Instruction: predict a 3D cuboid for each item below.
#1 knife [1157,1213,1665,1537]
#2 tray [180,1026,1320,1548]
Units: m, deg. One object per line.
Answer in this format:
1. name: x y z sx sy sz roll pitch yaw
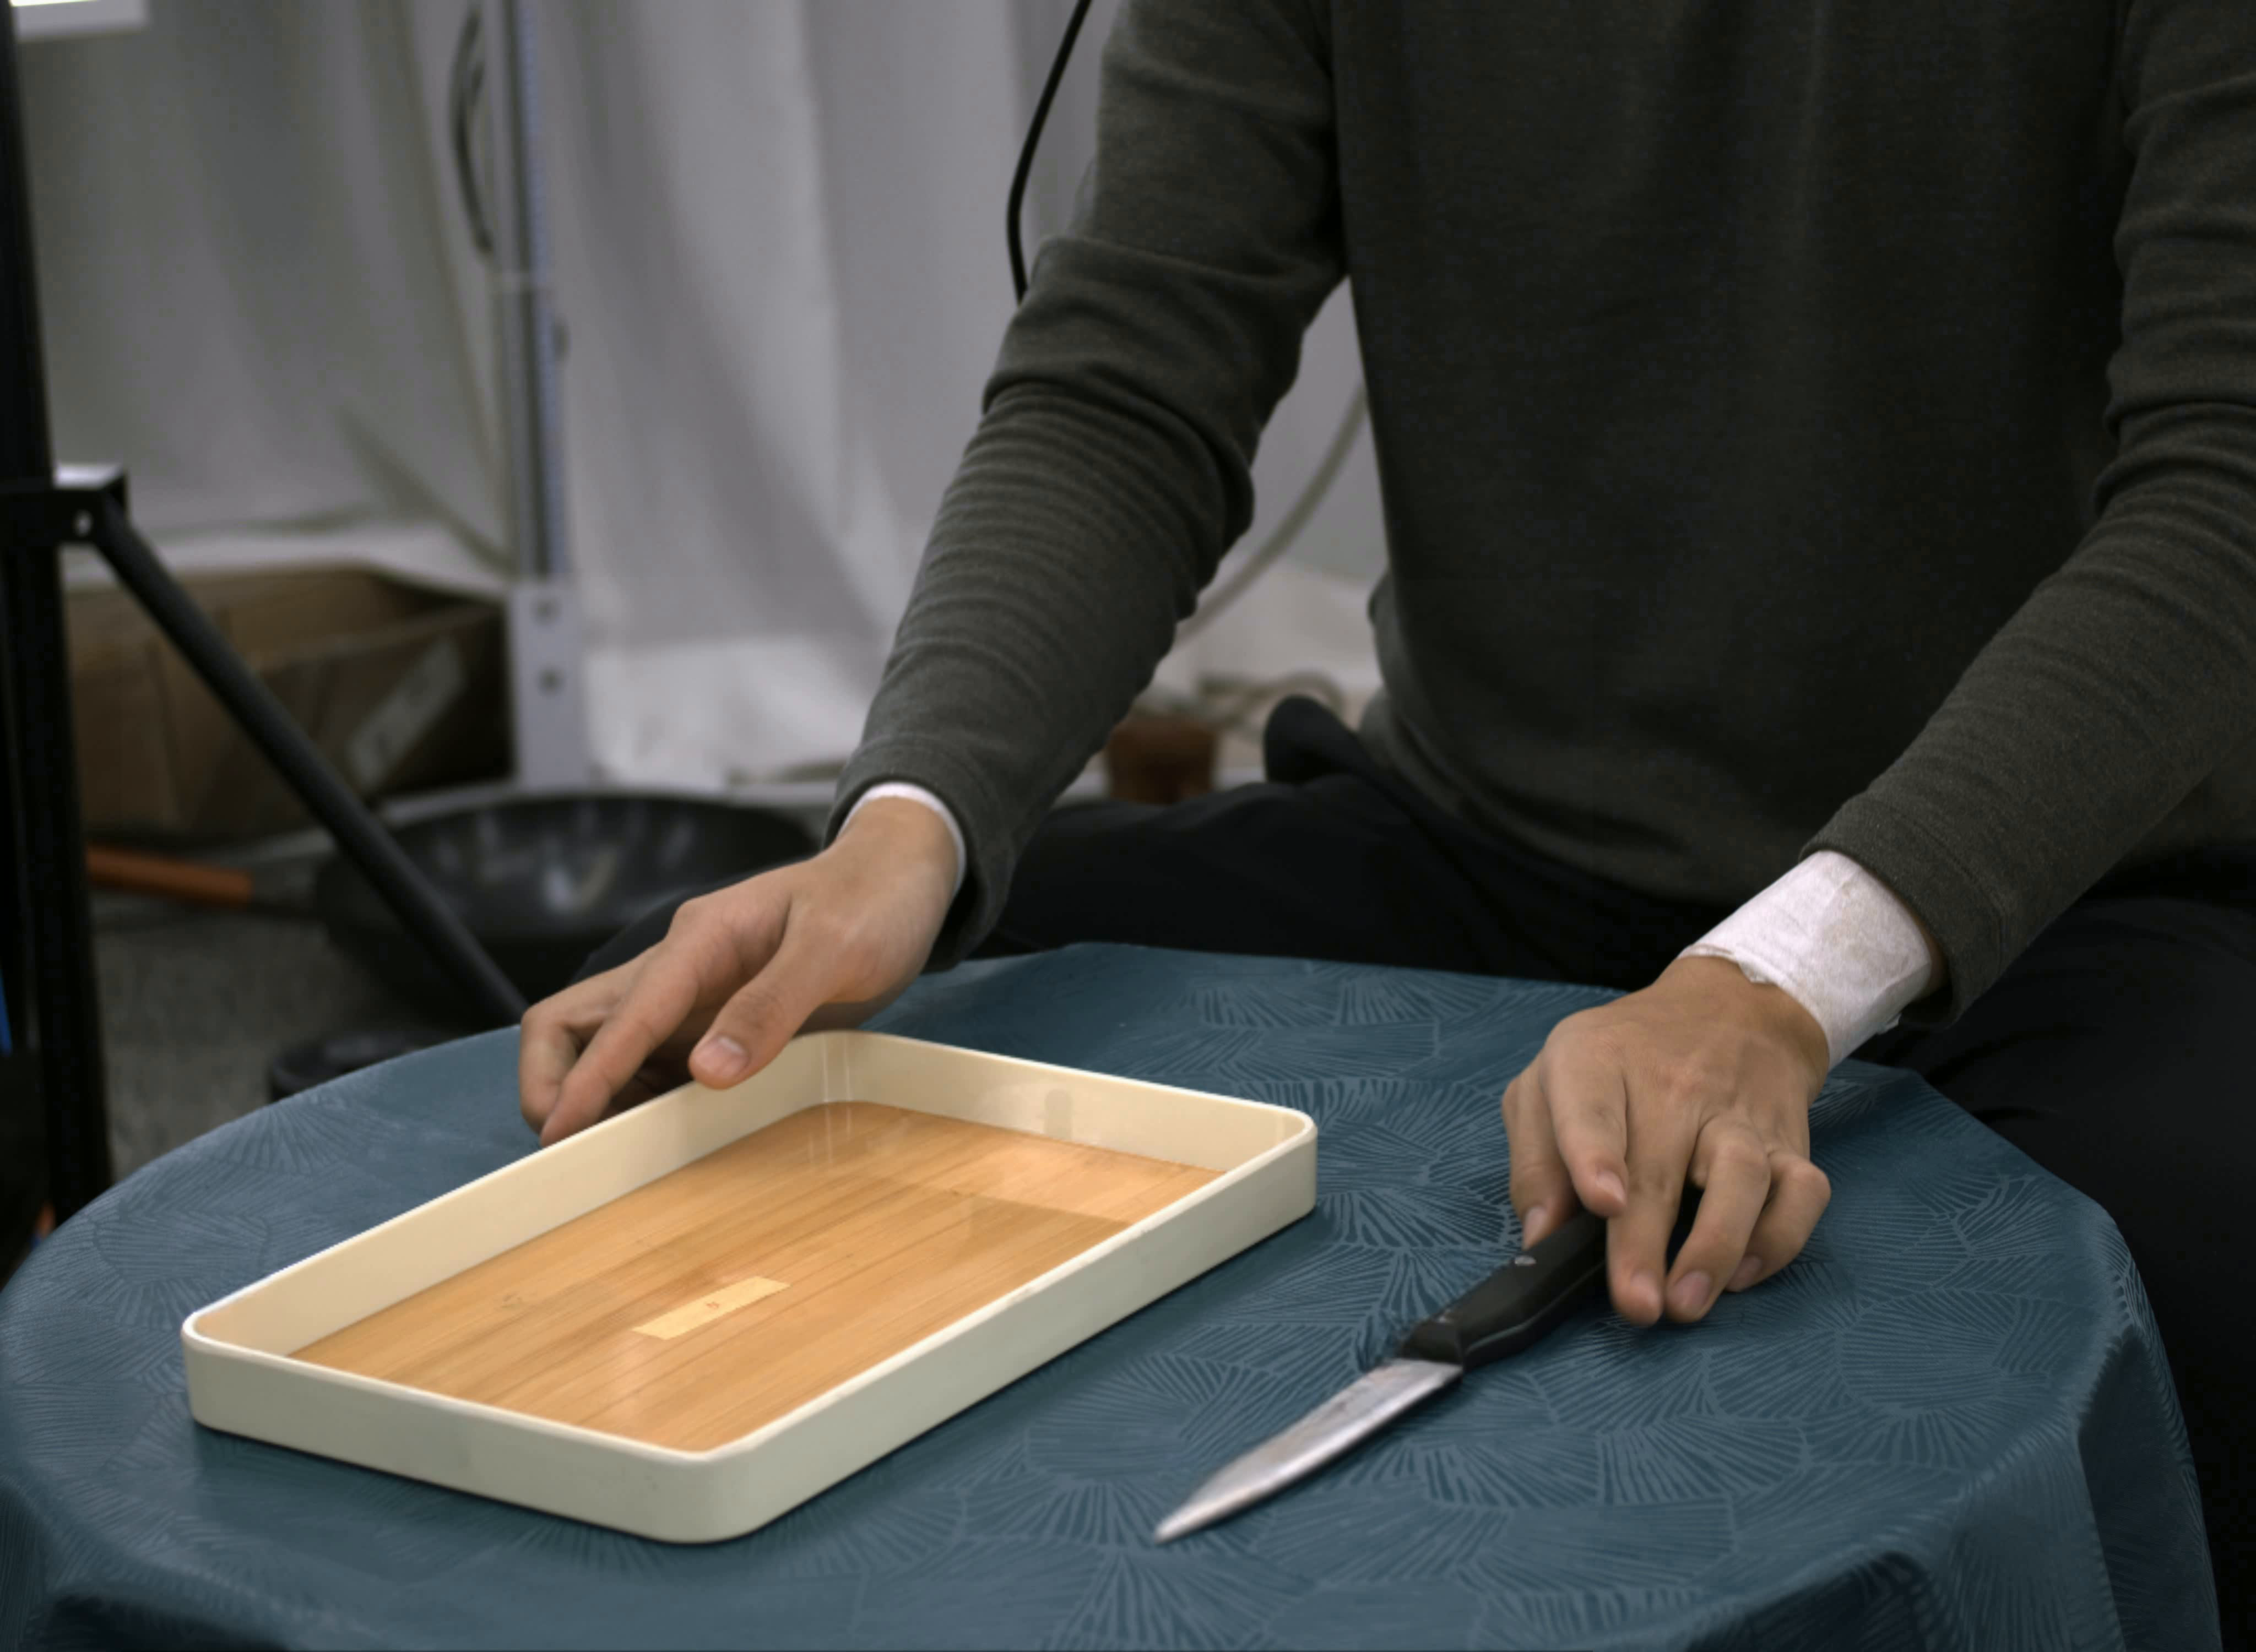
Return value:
1. knife: 0.075 0.144 1.397 0.025 0.016 0.233 2 16 37
2. tray: -0.098 0.122 1.480 0.195 0.027 0.294 10 20 34
